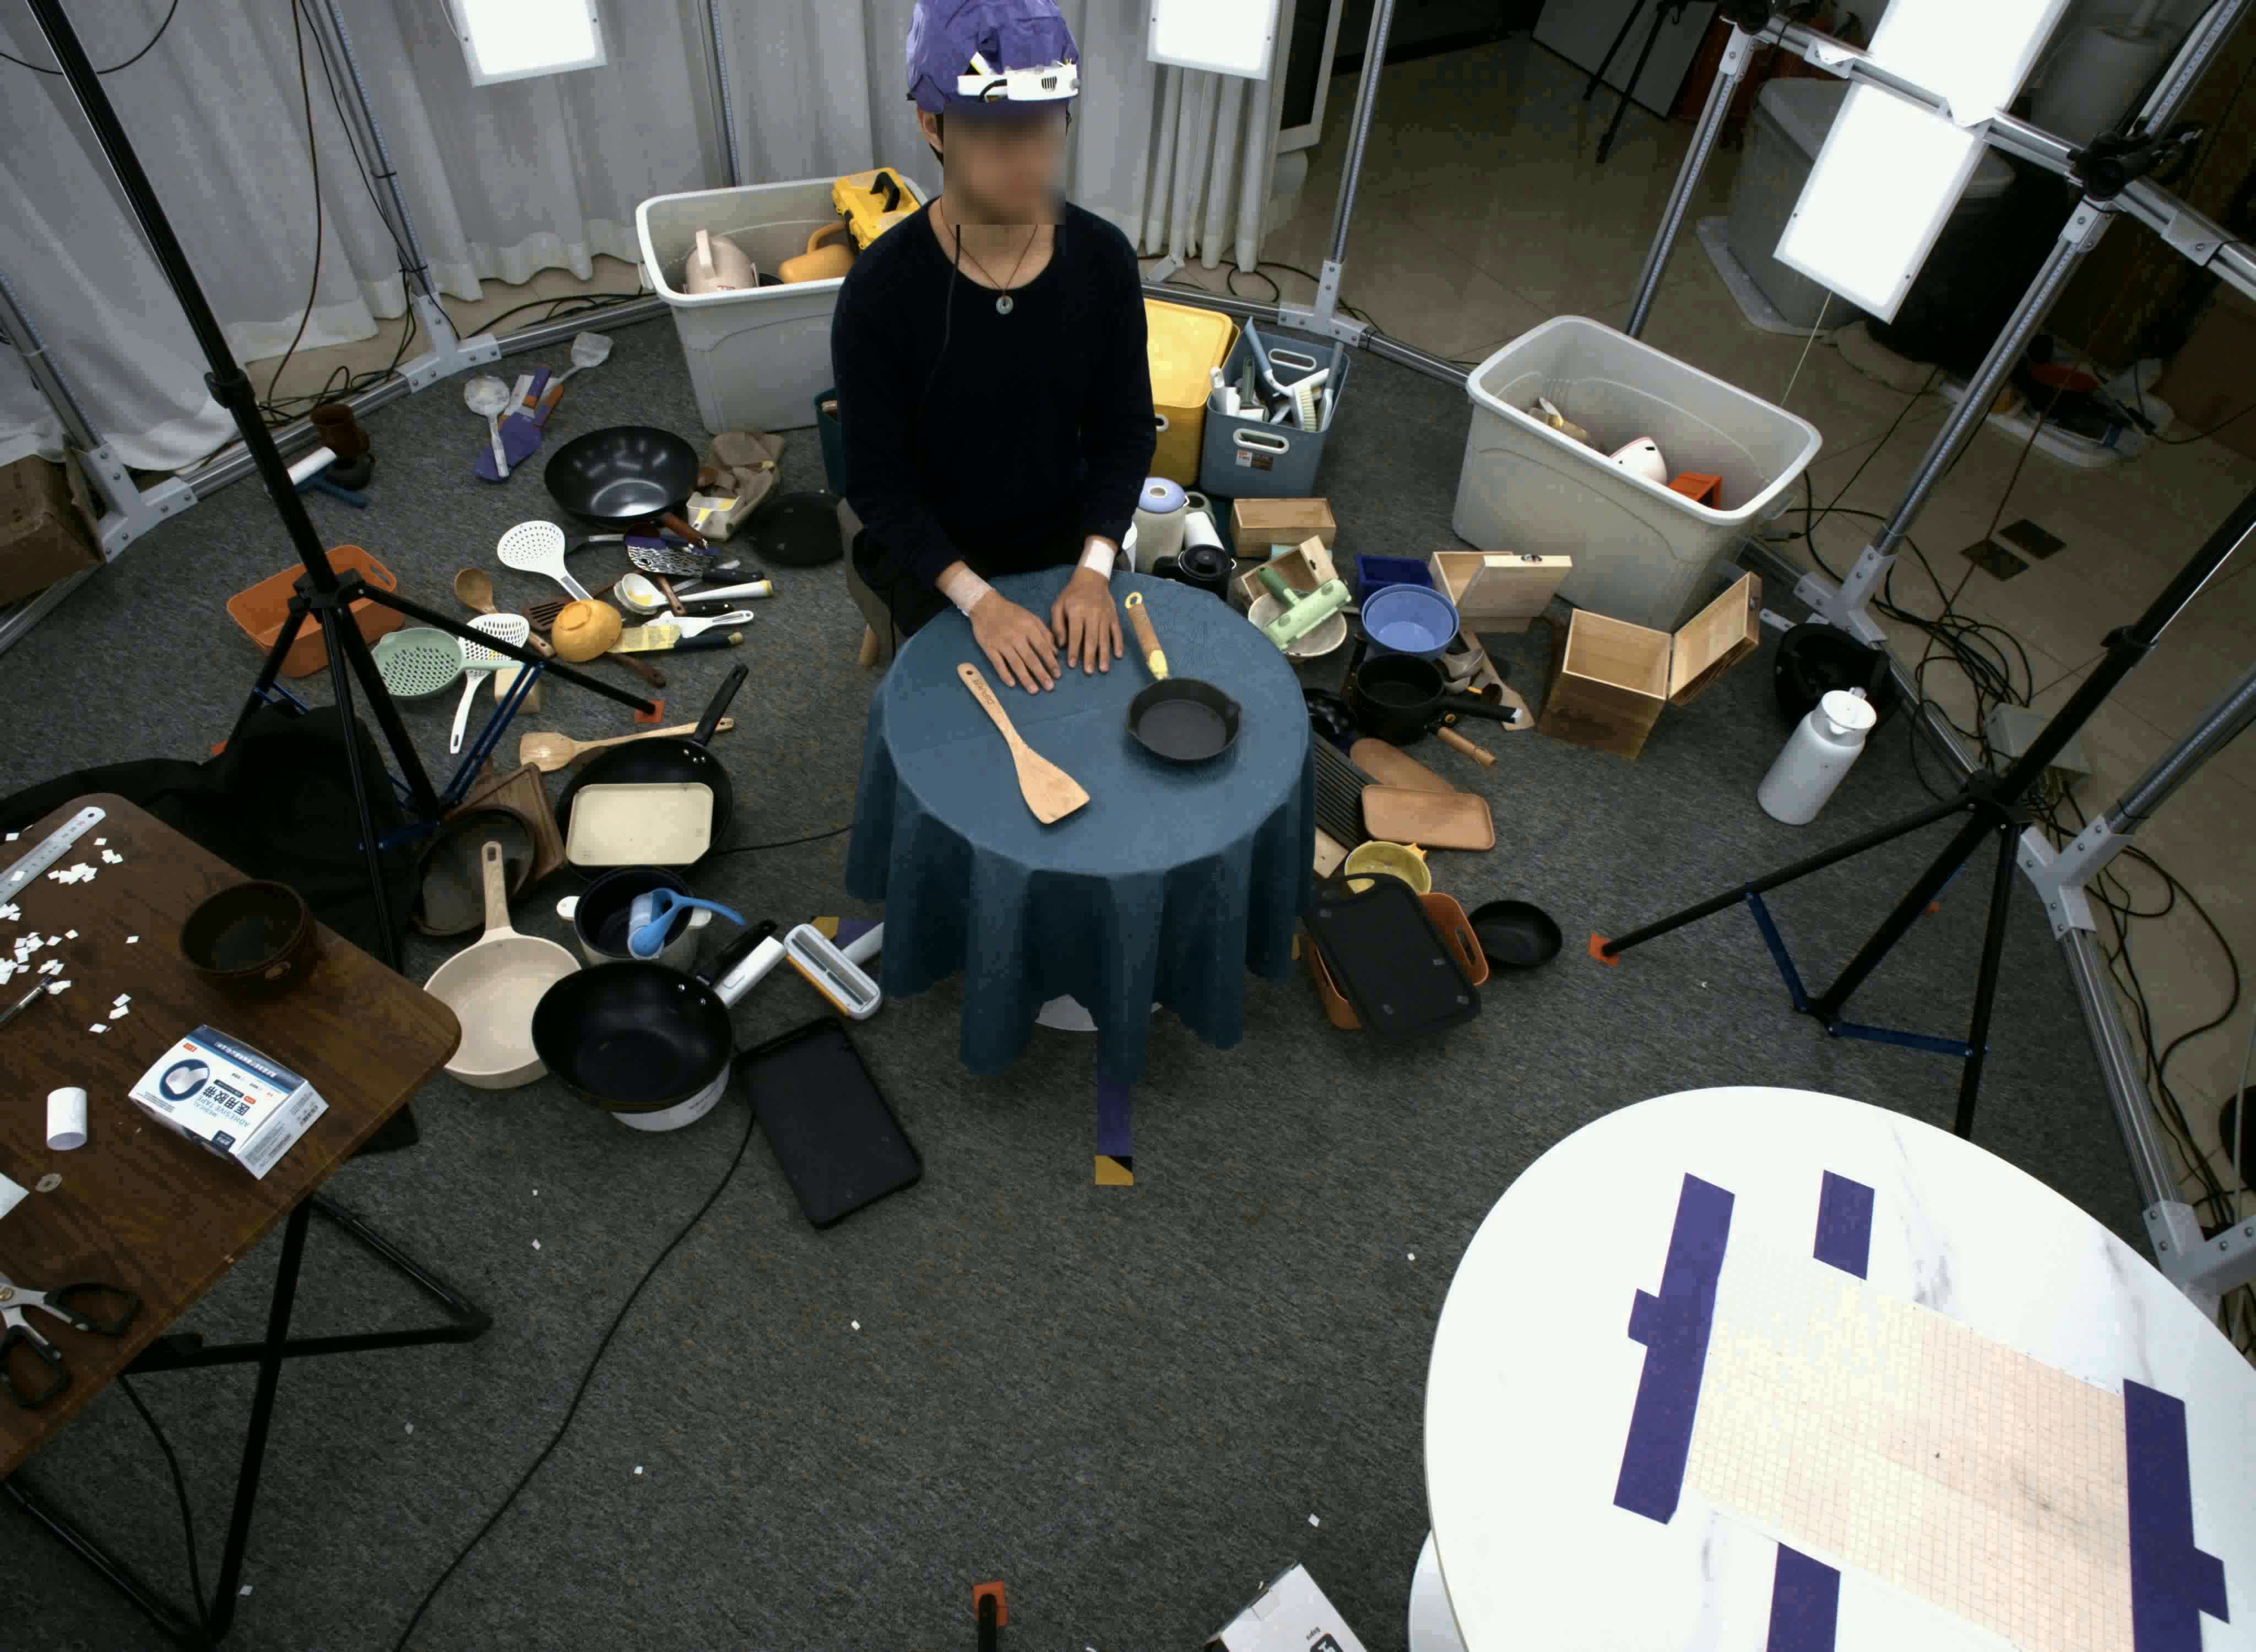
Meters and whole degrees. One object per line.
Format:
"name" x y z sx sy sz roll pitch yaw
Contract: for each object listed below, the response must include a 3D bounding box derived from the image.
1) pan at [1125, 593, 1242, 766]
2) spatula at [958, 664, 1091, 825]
"pan" 0.053 -0.210 1.822 0.169 0.048 0.332 -10 52 -12
"spatula" -0.154 -0.122 1.753 0.080 0.016 0.334 -21 53 -21
